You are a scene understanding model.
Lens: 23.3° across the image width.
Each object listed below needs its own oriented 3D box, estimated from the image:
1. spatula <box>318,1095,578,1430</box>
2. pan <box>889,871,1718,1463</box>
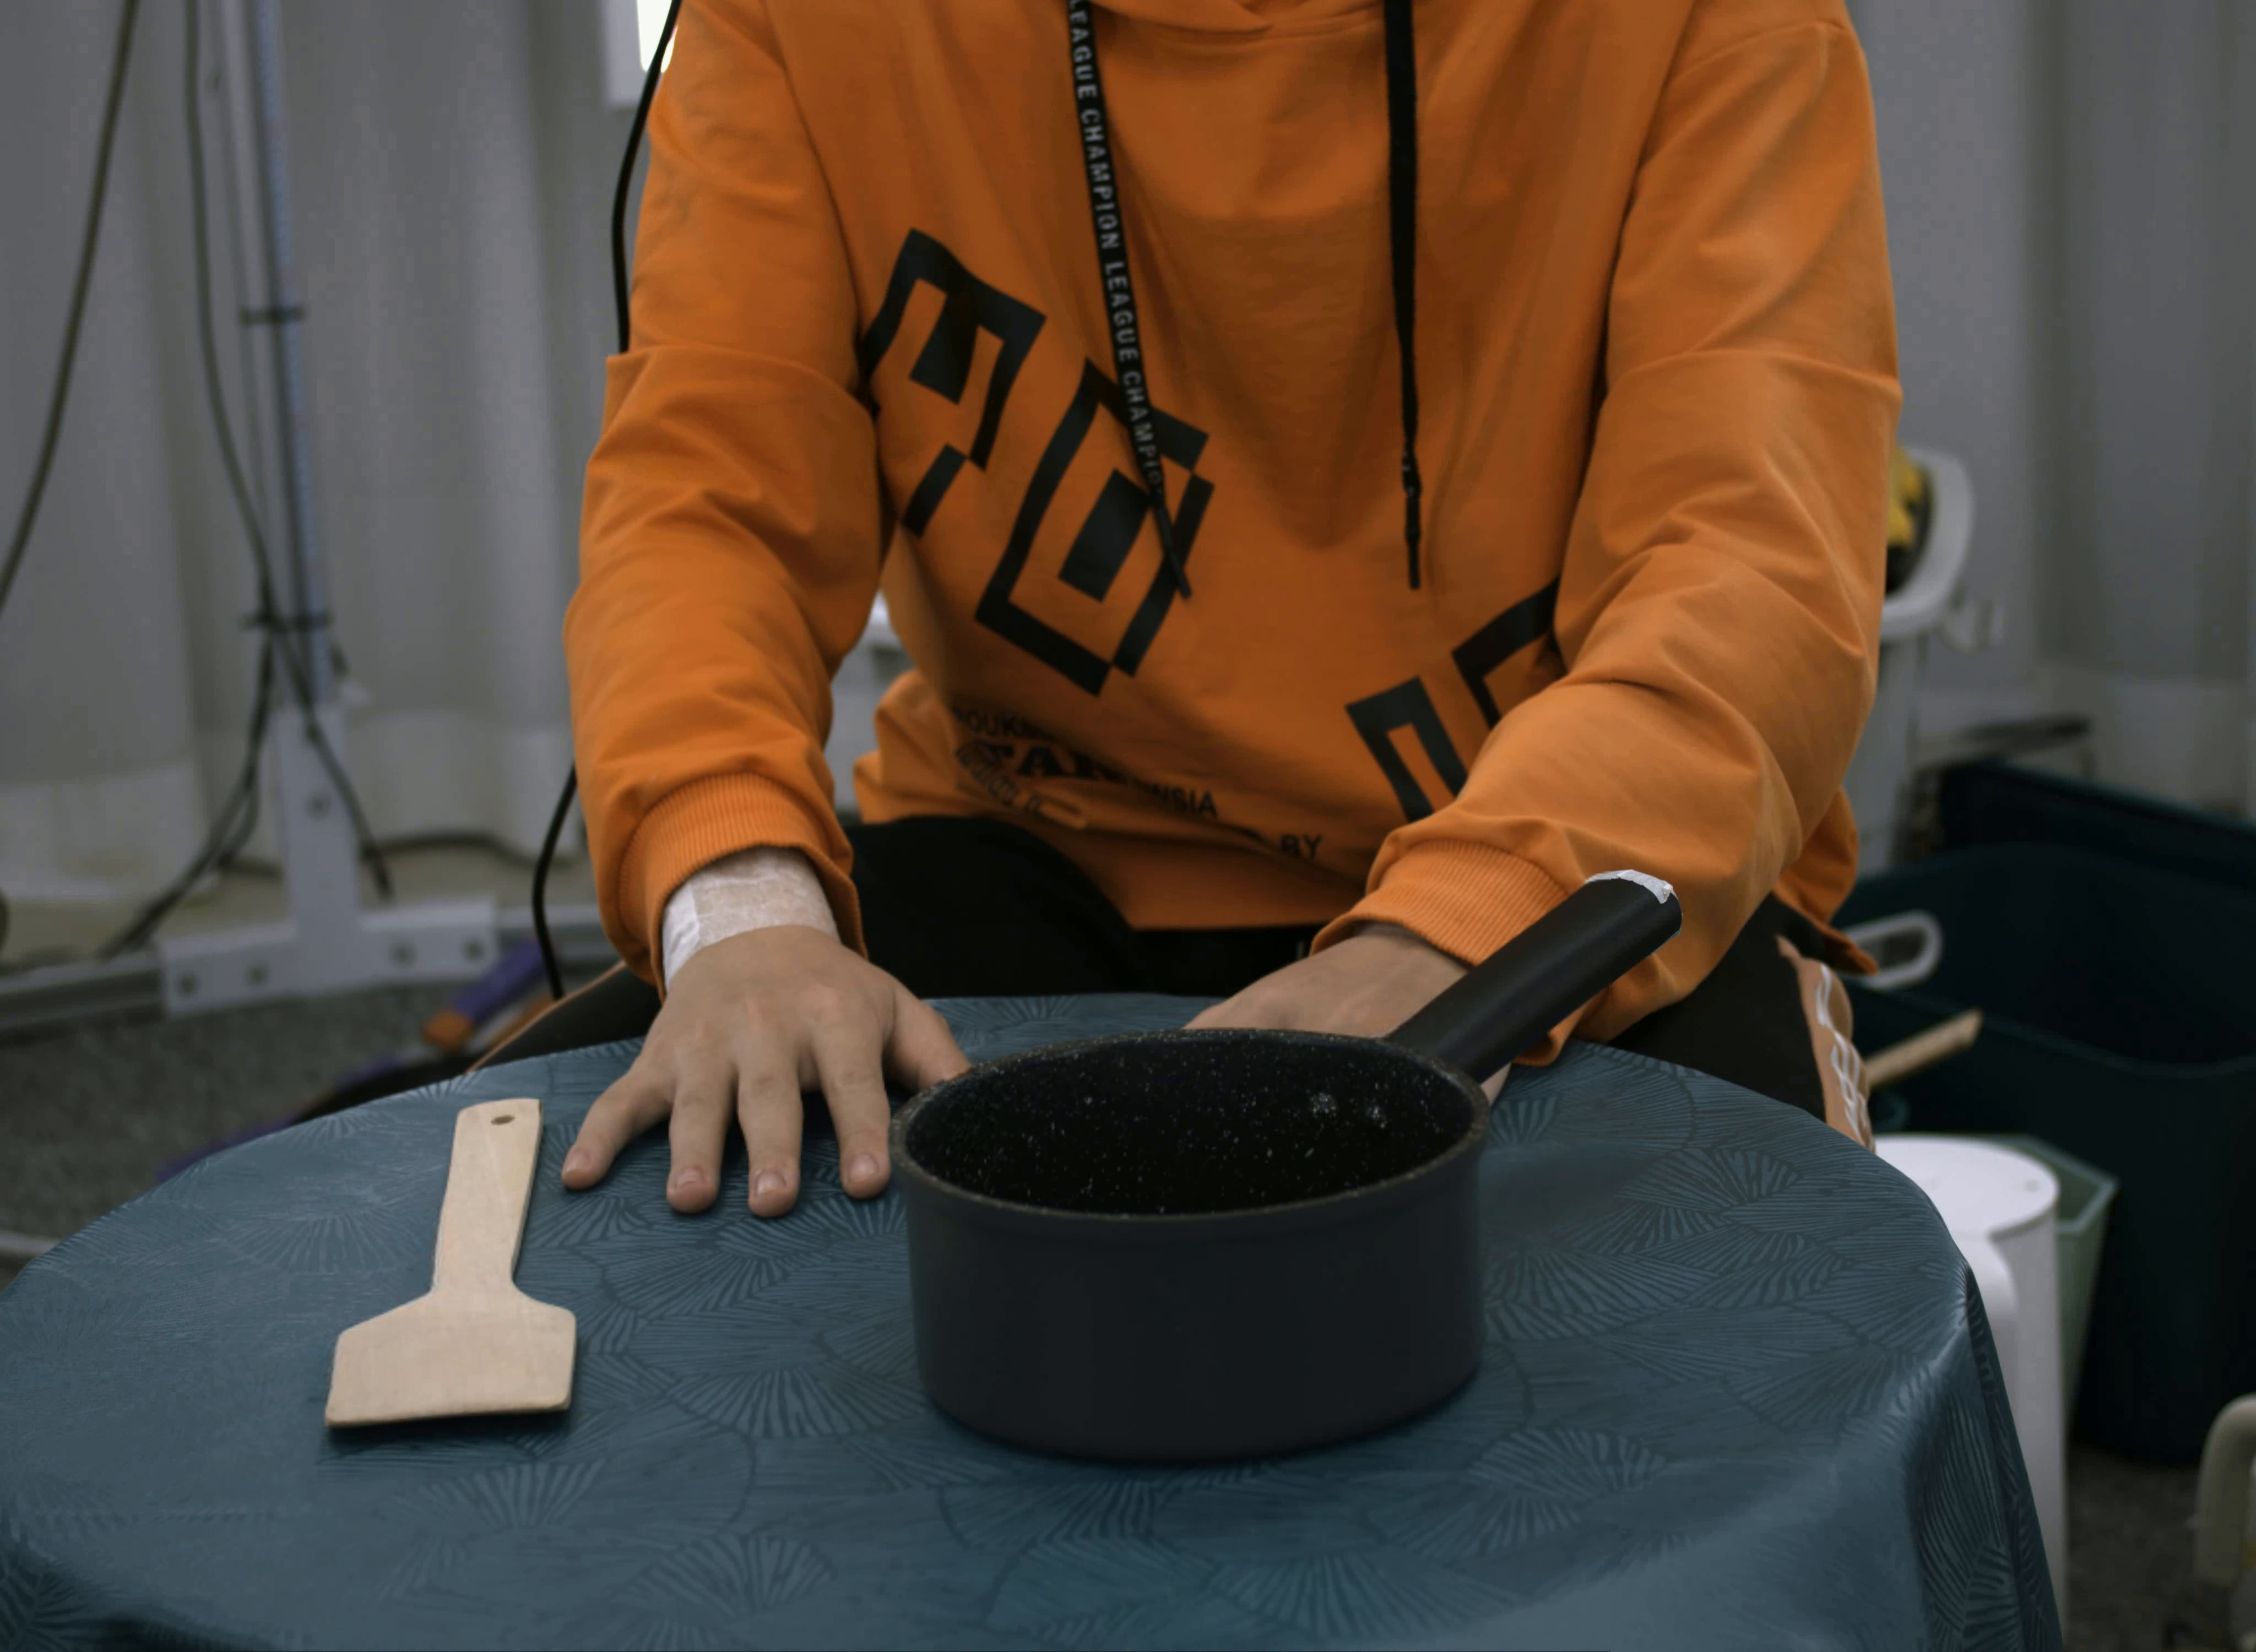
[{"bbox_3d":[-0.200,0.131,1.678,0.072,0.010,0.295,-7,15,-1],"label":"spatula"},{"bbox_3d":[0.069,0.096,1.609,0.173,0.086,0.328,10,21,39],"label":"pan"}]
